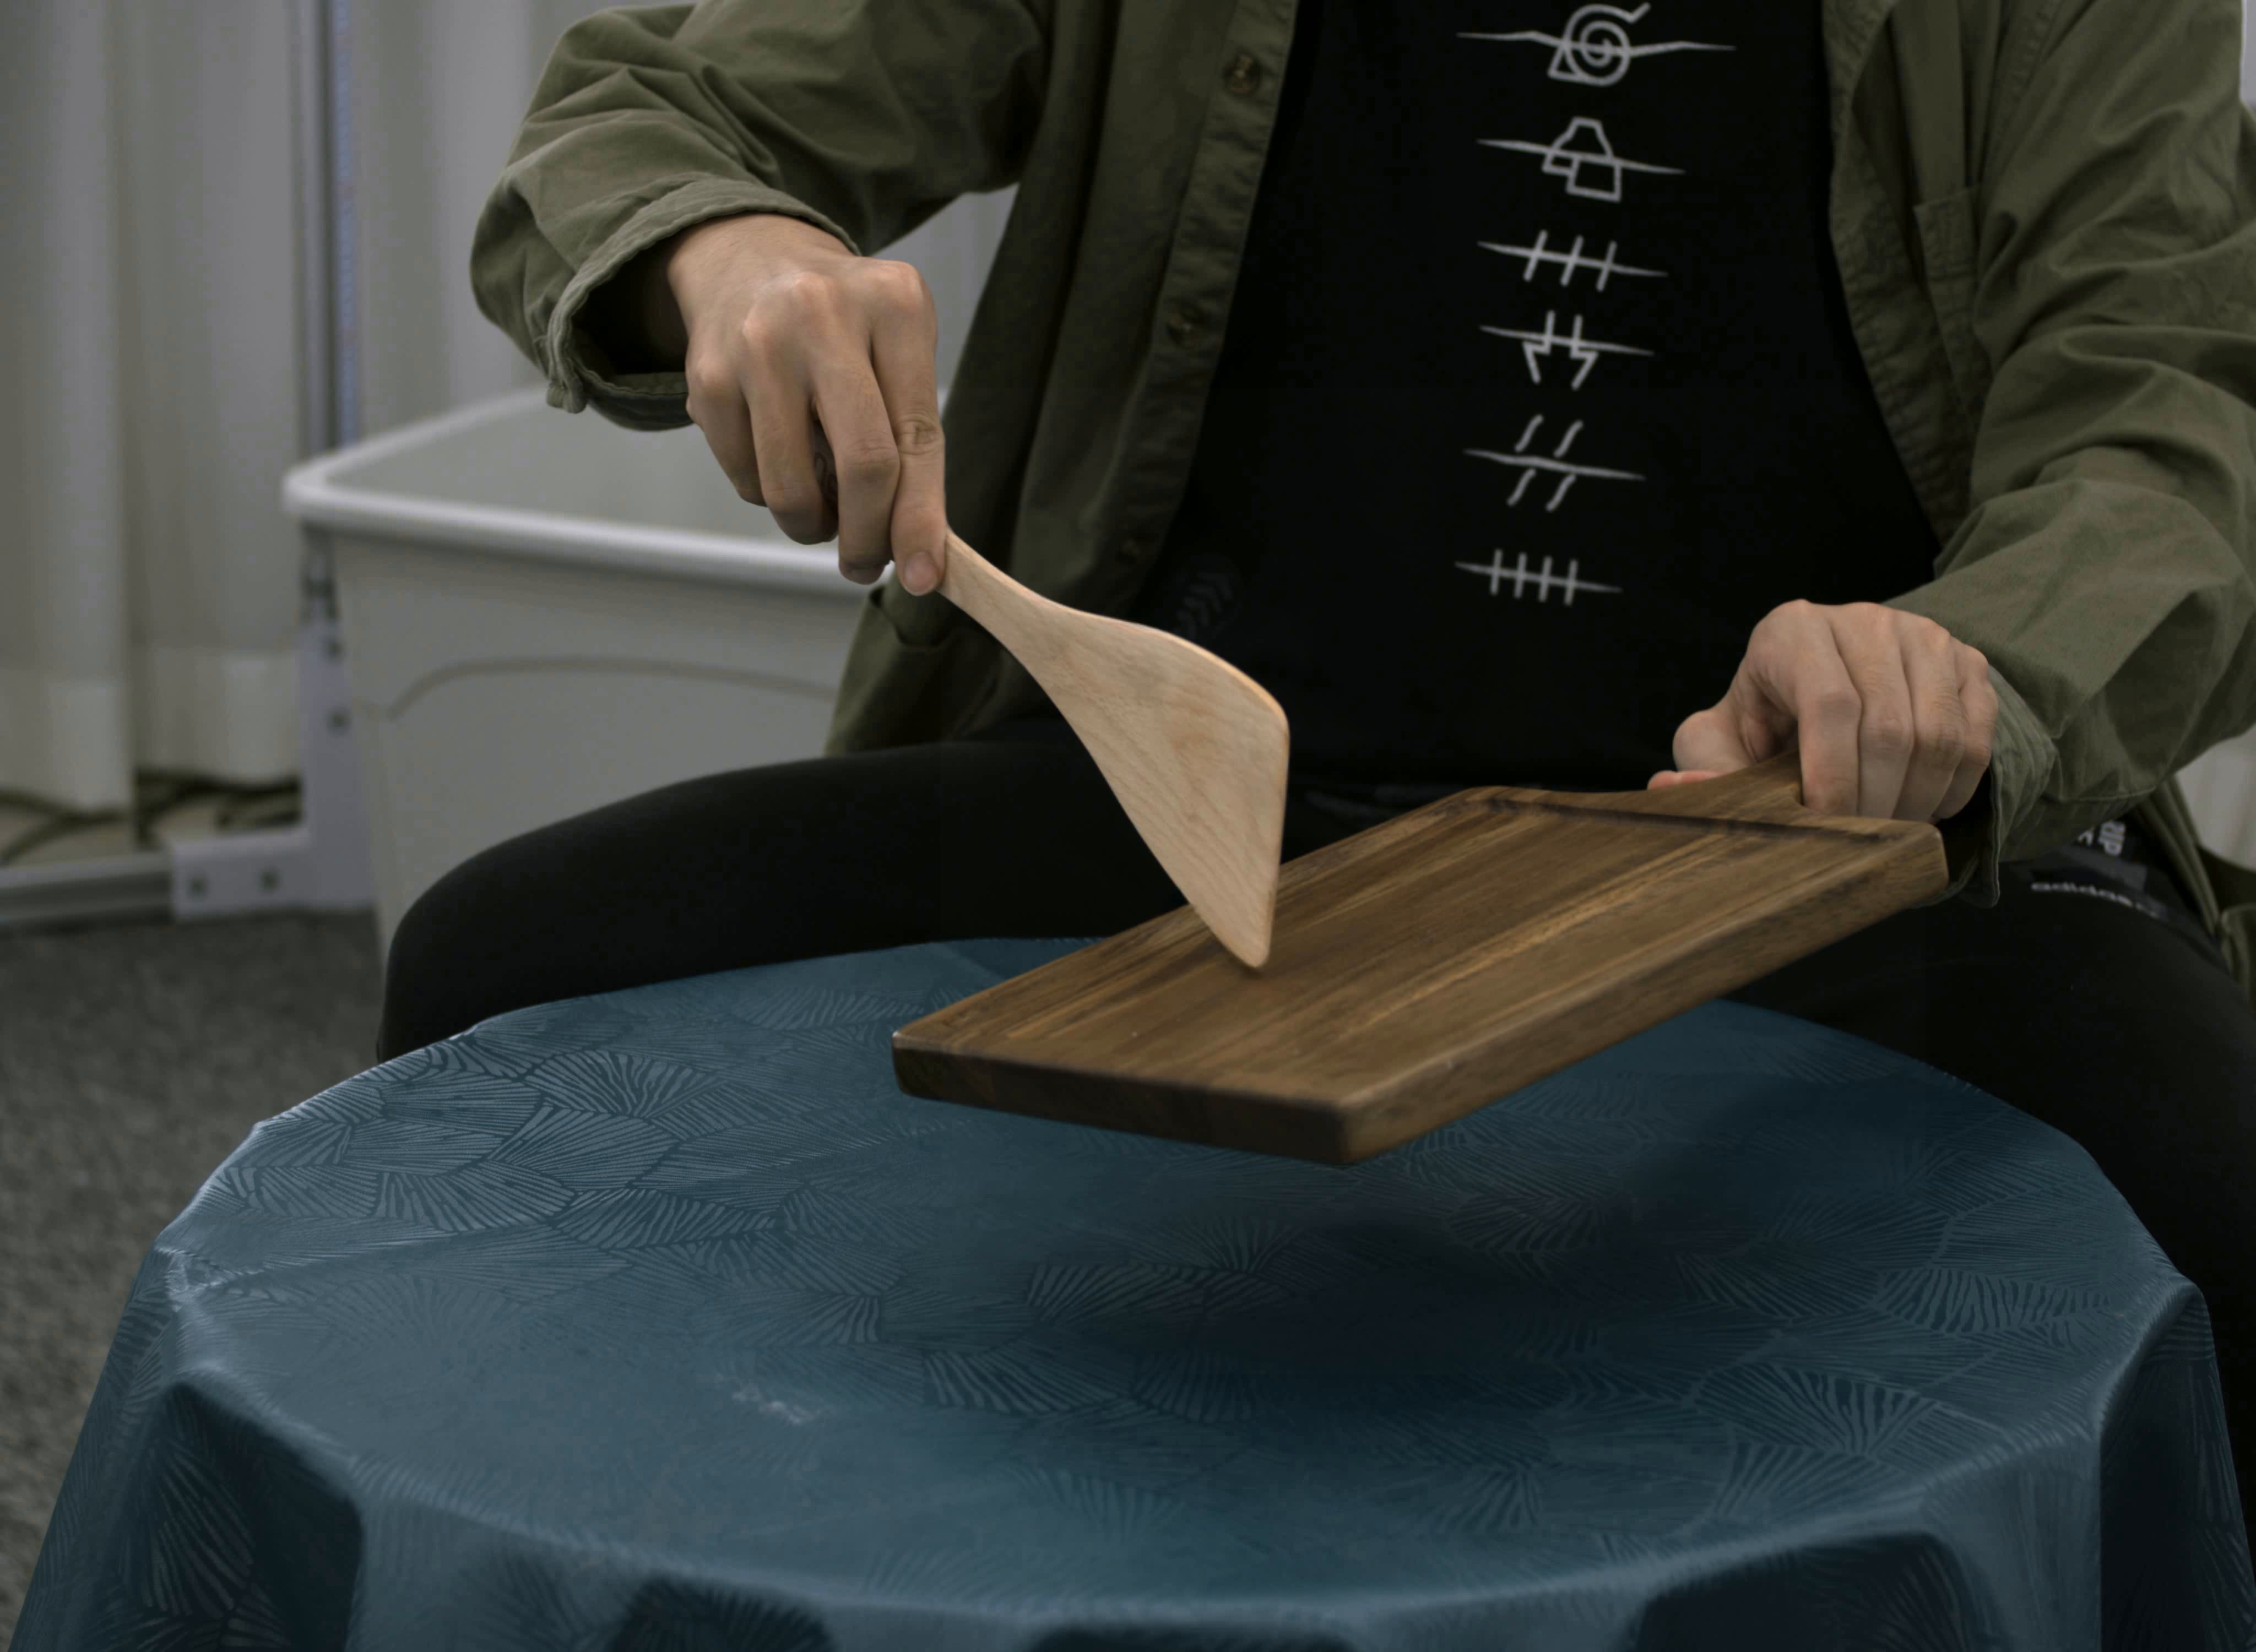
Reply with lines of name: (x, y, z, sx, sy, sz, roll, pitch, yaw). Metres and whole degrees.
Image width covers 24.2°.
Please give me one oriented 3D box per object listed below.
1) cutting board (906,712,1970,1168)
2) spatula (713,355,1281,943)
cutting board: (0.125, 0.024, 1.536, 0.353, 0.023, 0.198, -21, 17, -37)
spatula: (-0.045, -0.072, 1.608, 0.016, 0.080, 0.323, -11, 35, -35)
